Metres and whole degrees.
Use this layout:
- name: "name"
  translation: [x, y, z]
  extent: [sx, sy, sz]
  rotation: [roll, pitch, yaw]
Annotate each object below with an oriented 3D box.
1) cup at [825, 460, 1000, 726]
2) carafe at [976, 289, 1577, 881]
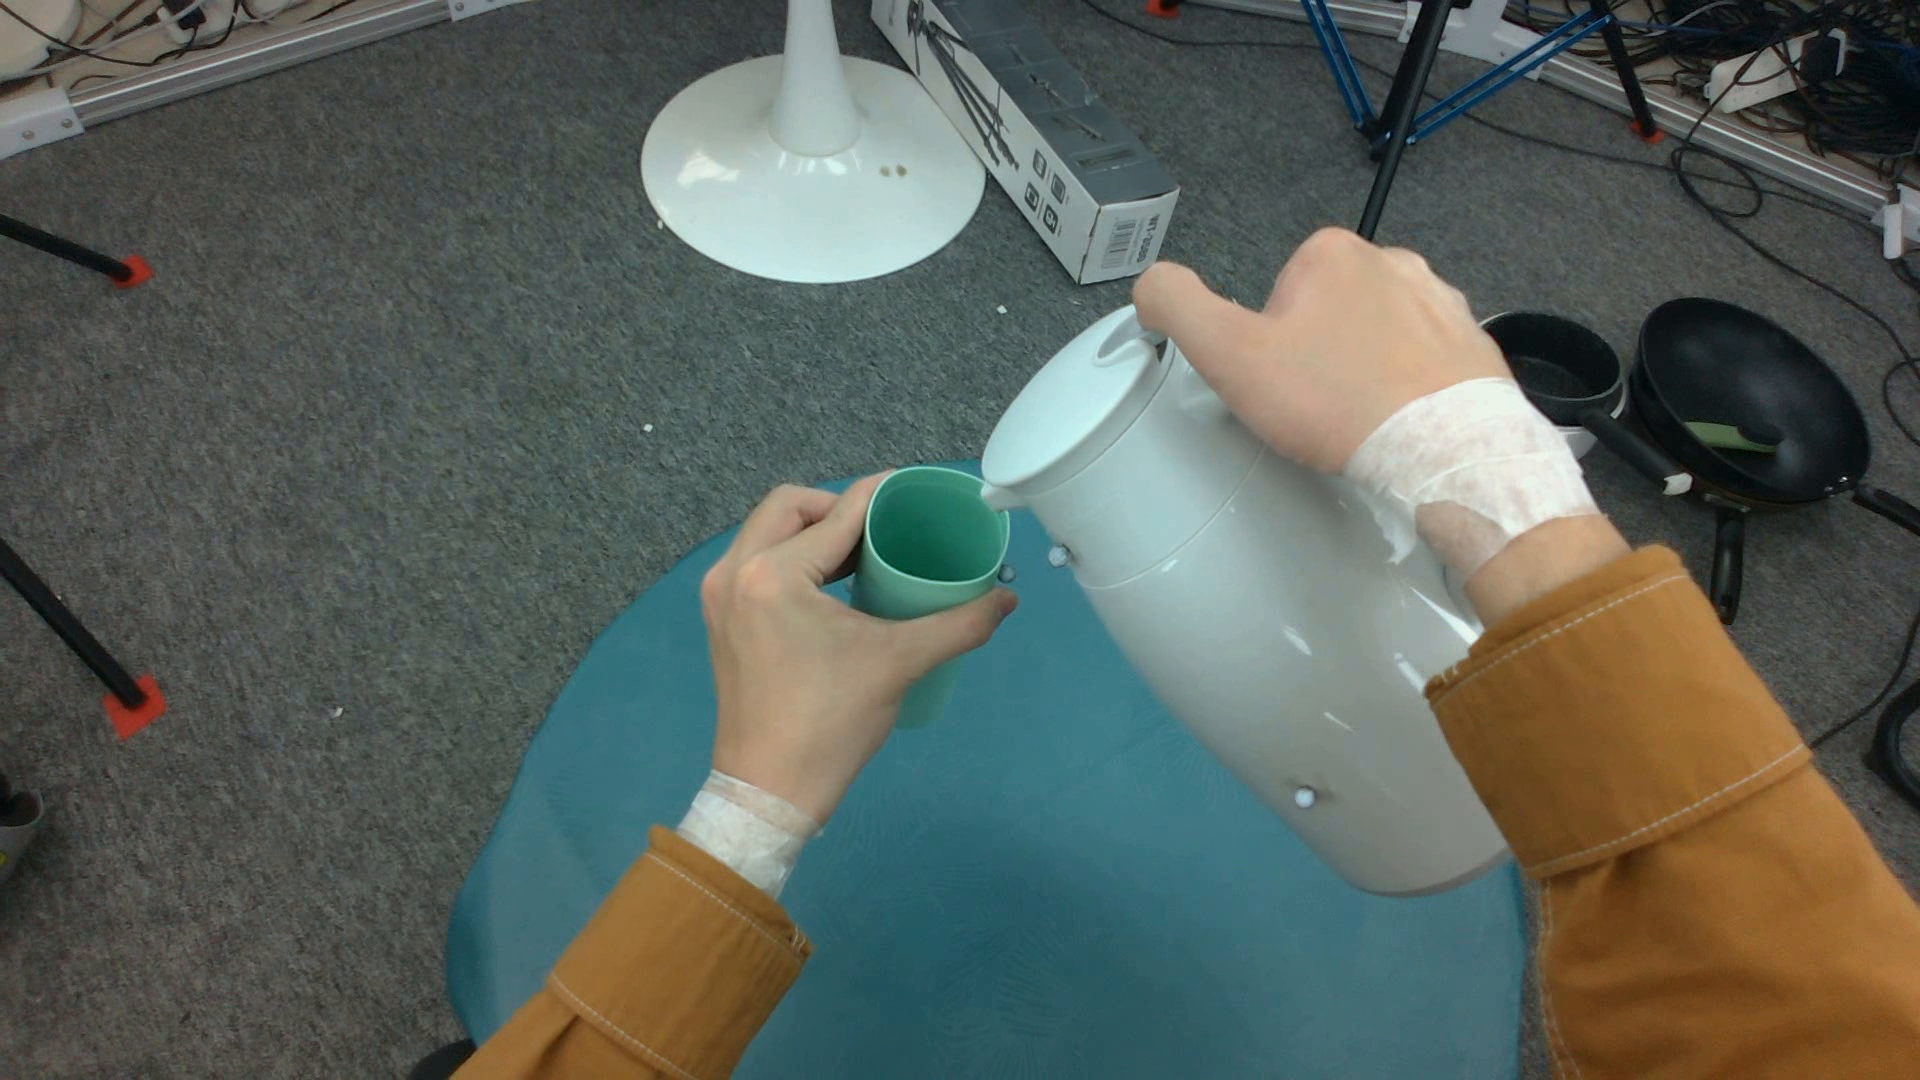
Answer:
- name: "cup"
  translation: [-0.025, 0.029, 0.642]
  extent: [0.067, 0.131, 0.067]
  rotation: [7, 52, -9]
- name: "carafe"
  translation: [0.133, 0.006, 0.545]
  extent: [0.248, 0.167, 0.133]
  rotation: [43, 43, -19]
